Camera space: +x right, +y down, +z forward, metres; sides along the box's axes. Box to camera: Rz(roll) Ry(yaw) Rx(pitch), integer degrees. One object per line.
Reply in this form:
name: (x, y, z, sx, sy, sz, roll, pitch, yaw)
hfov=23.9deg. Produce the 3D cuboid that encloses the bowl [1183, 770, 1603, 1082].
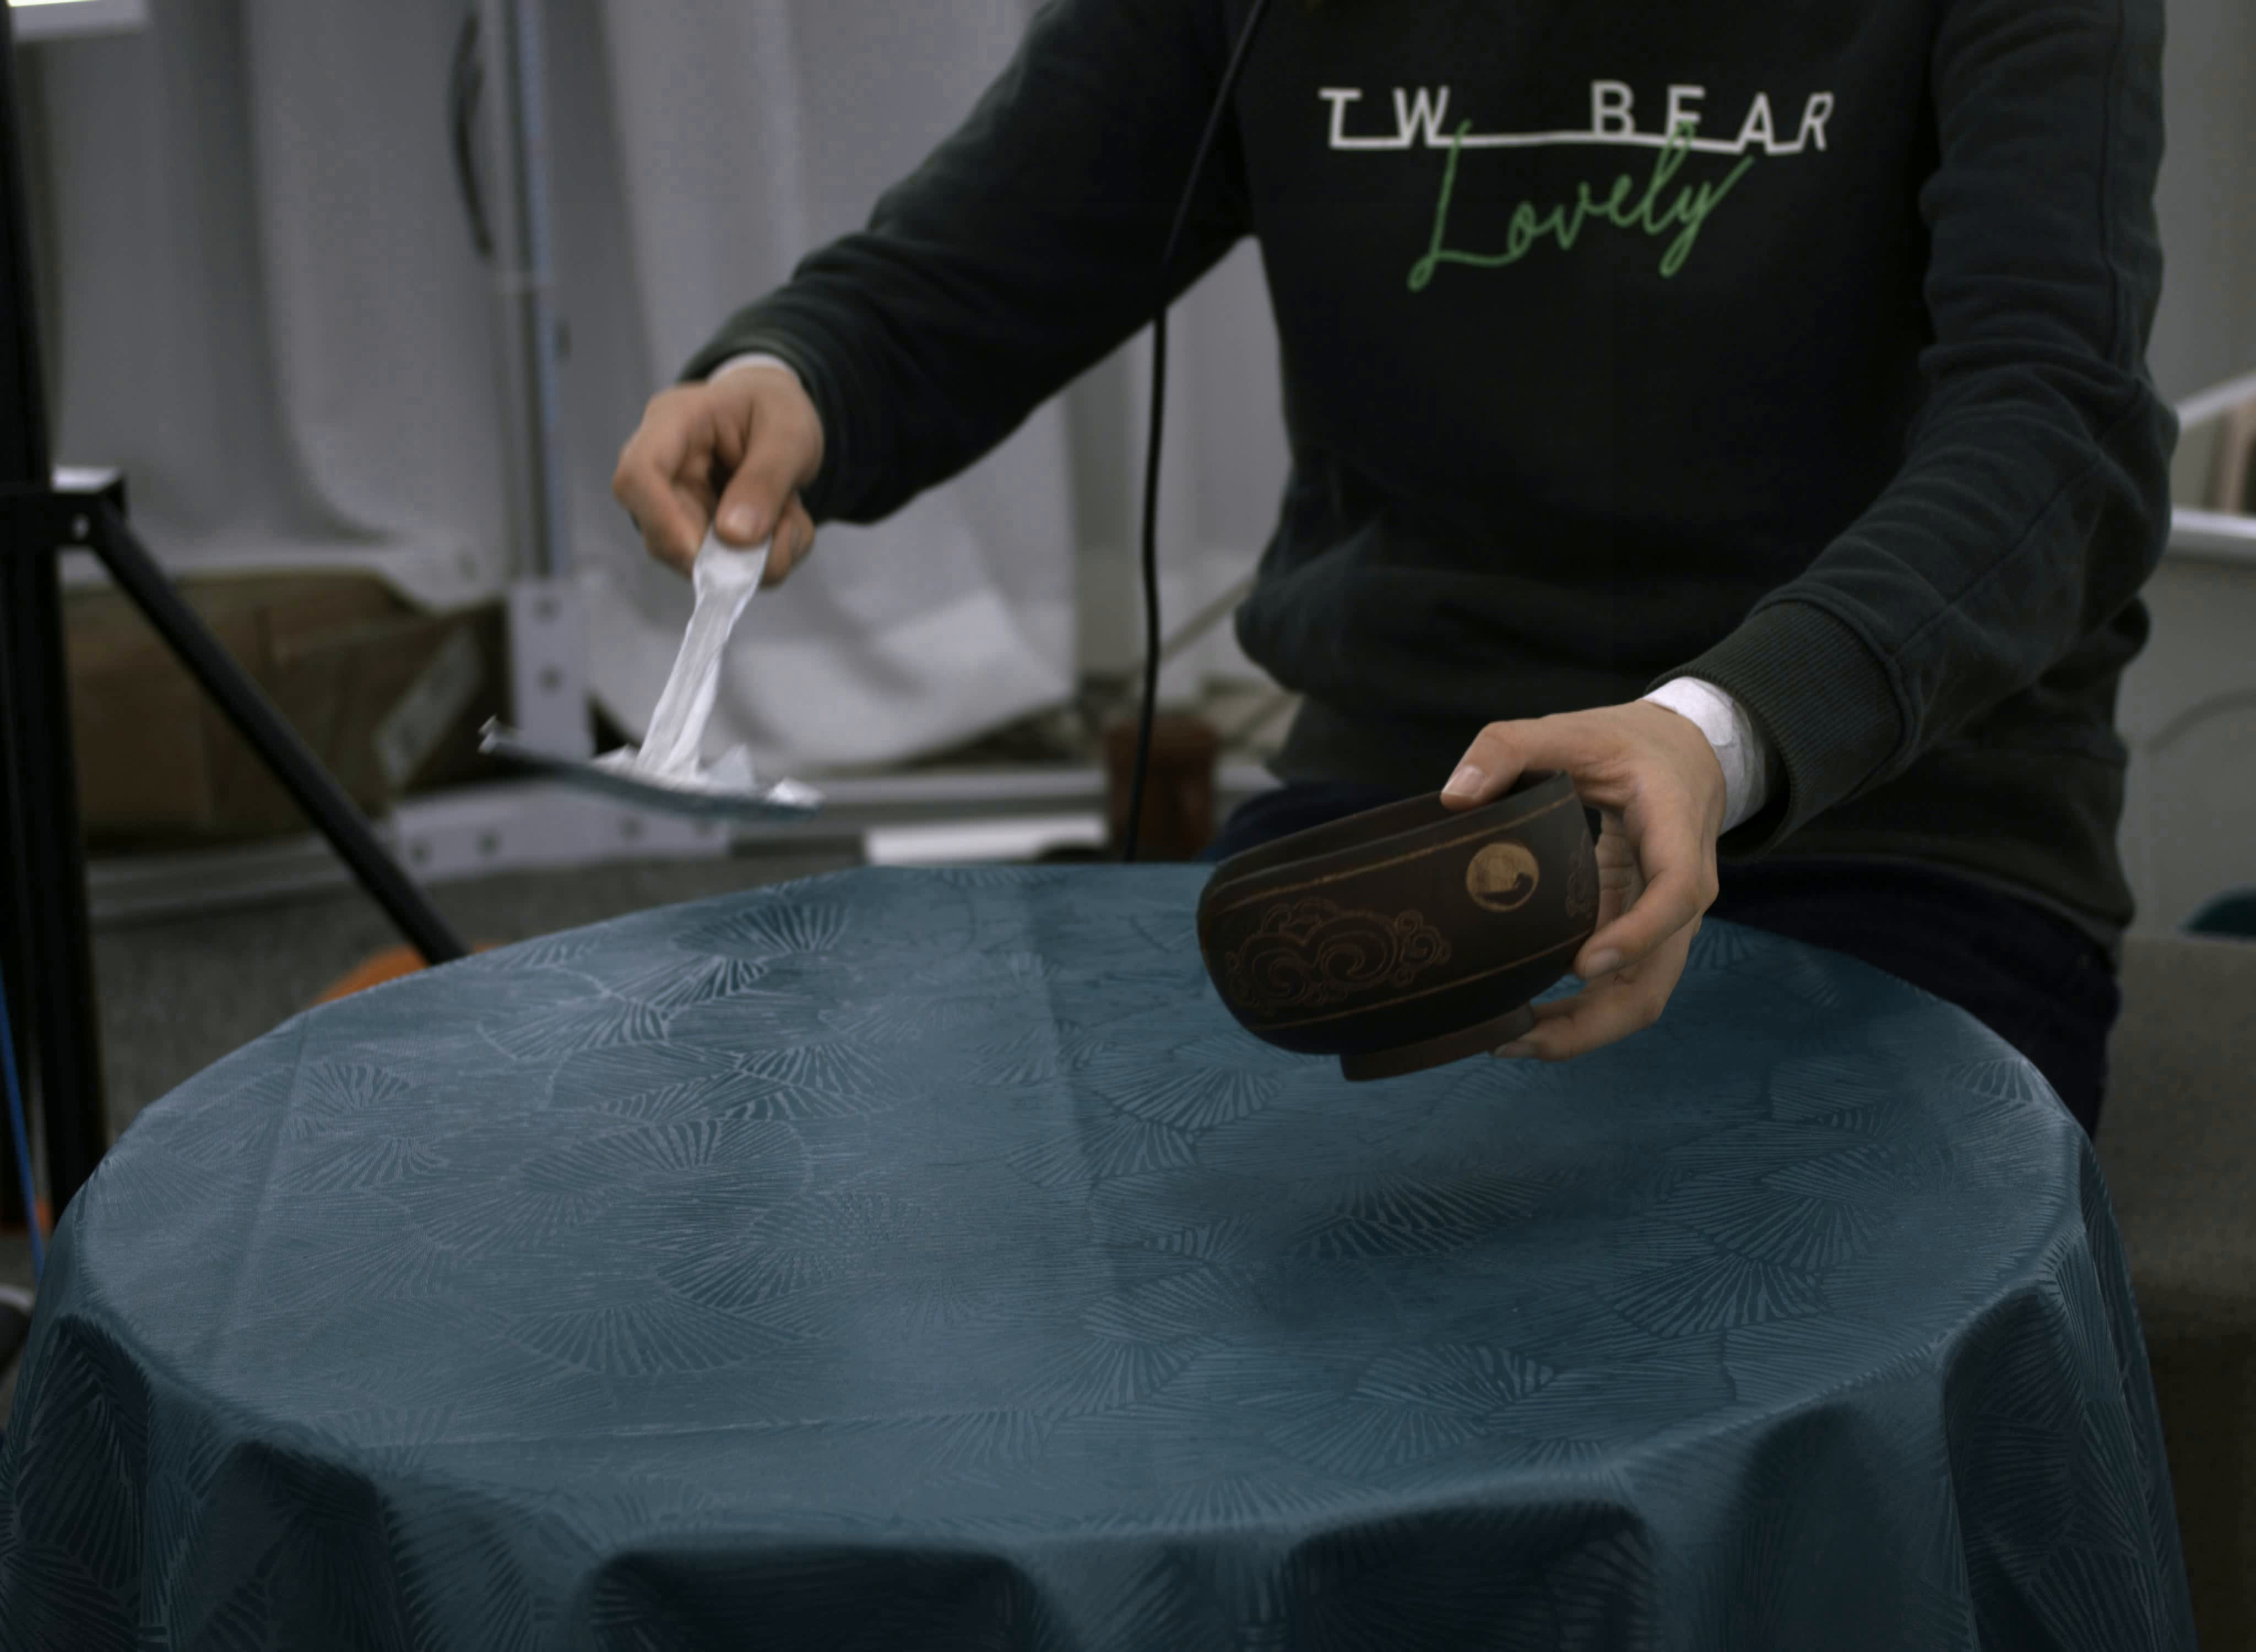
bowl: (0.079, 0.032, 1.507, 0.117, 0.070, 0.118, -14, 4, -1)

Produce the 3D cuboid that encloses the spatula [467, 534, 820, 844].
spatula: (-0.127, -0.053, 1.635, 0.098, 0.045, 0.365, 11, 21, 1)
